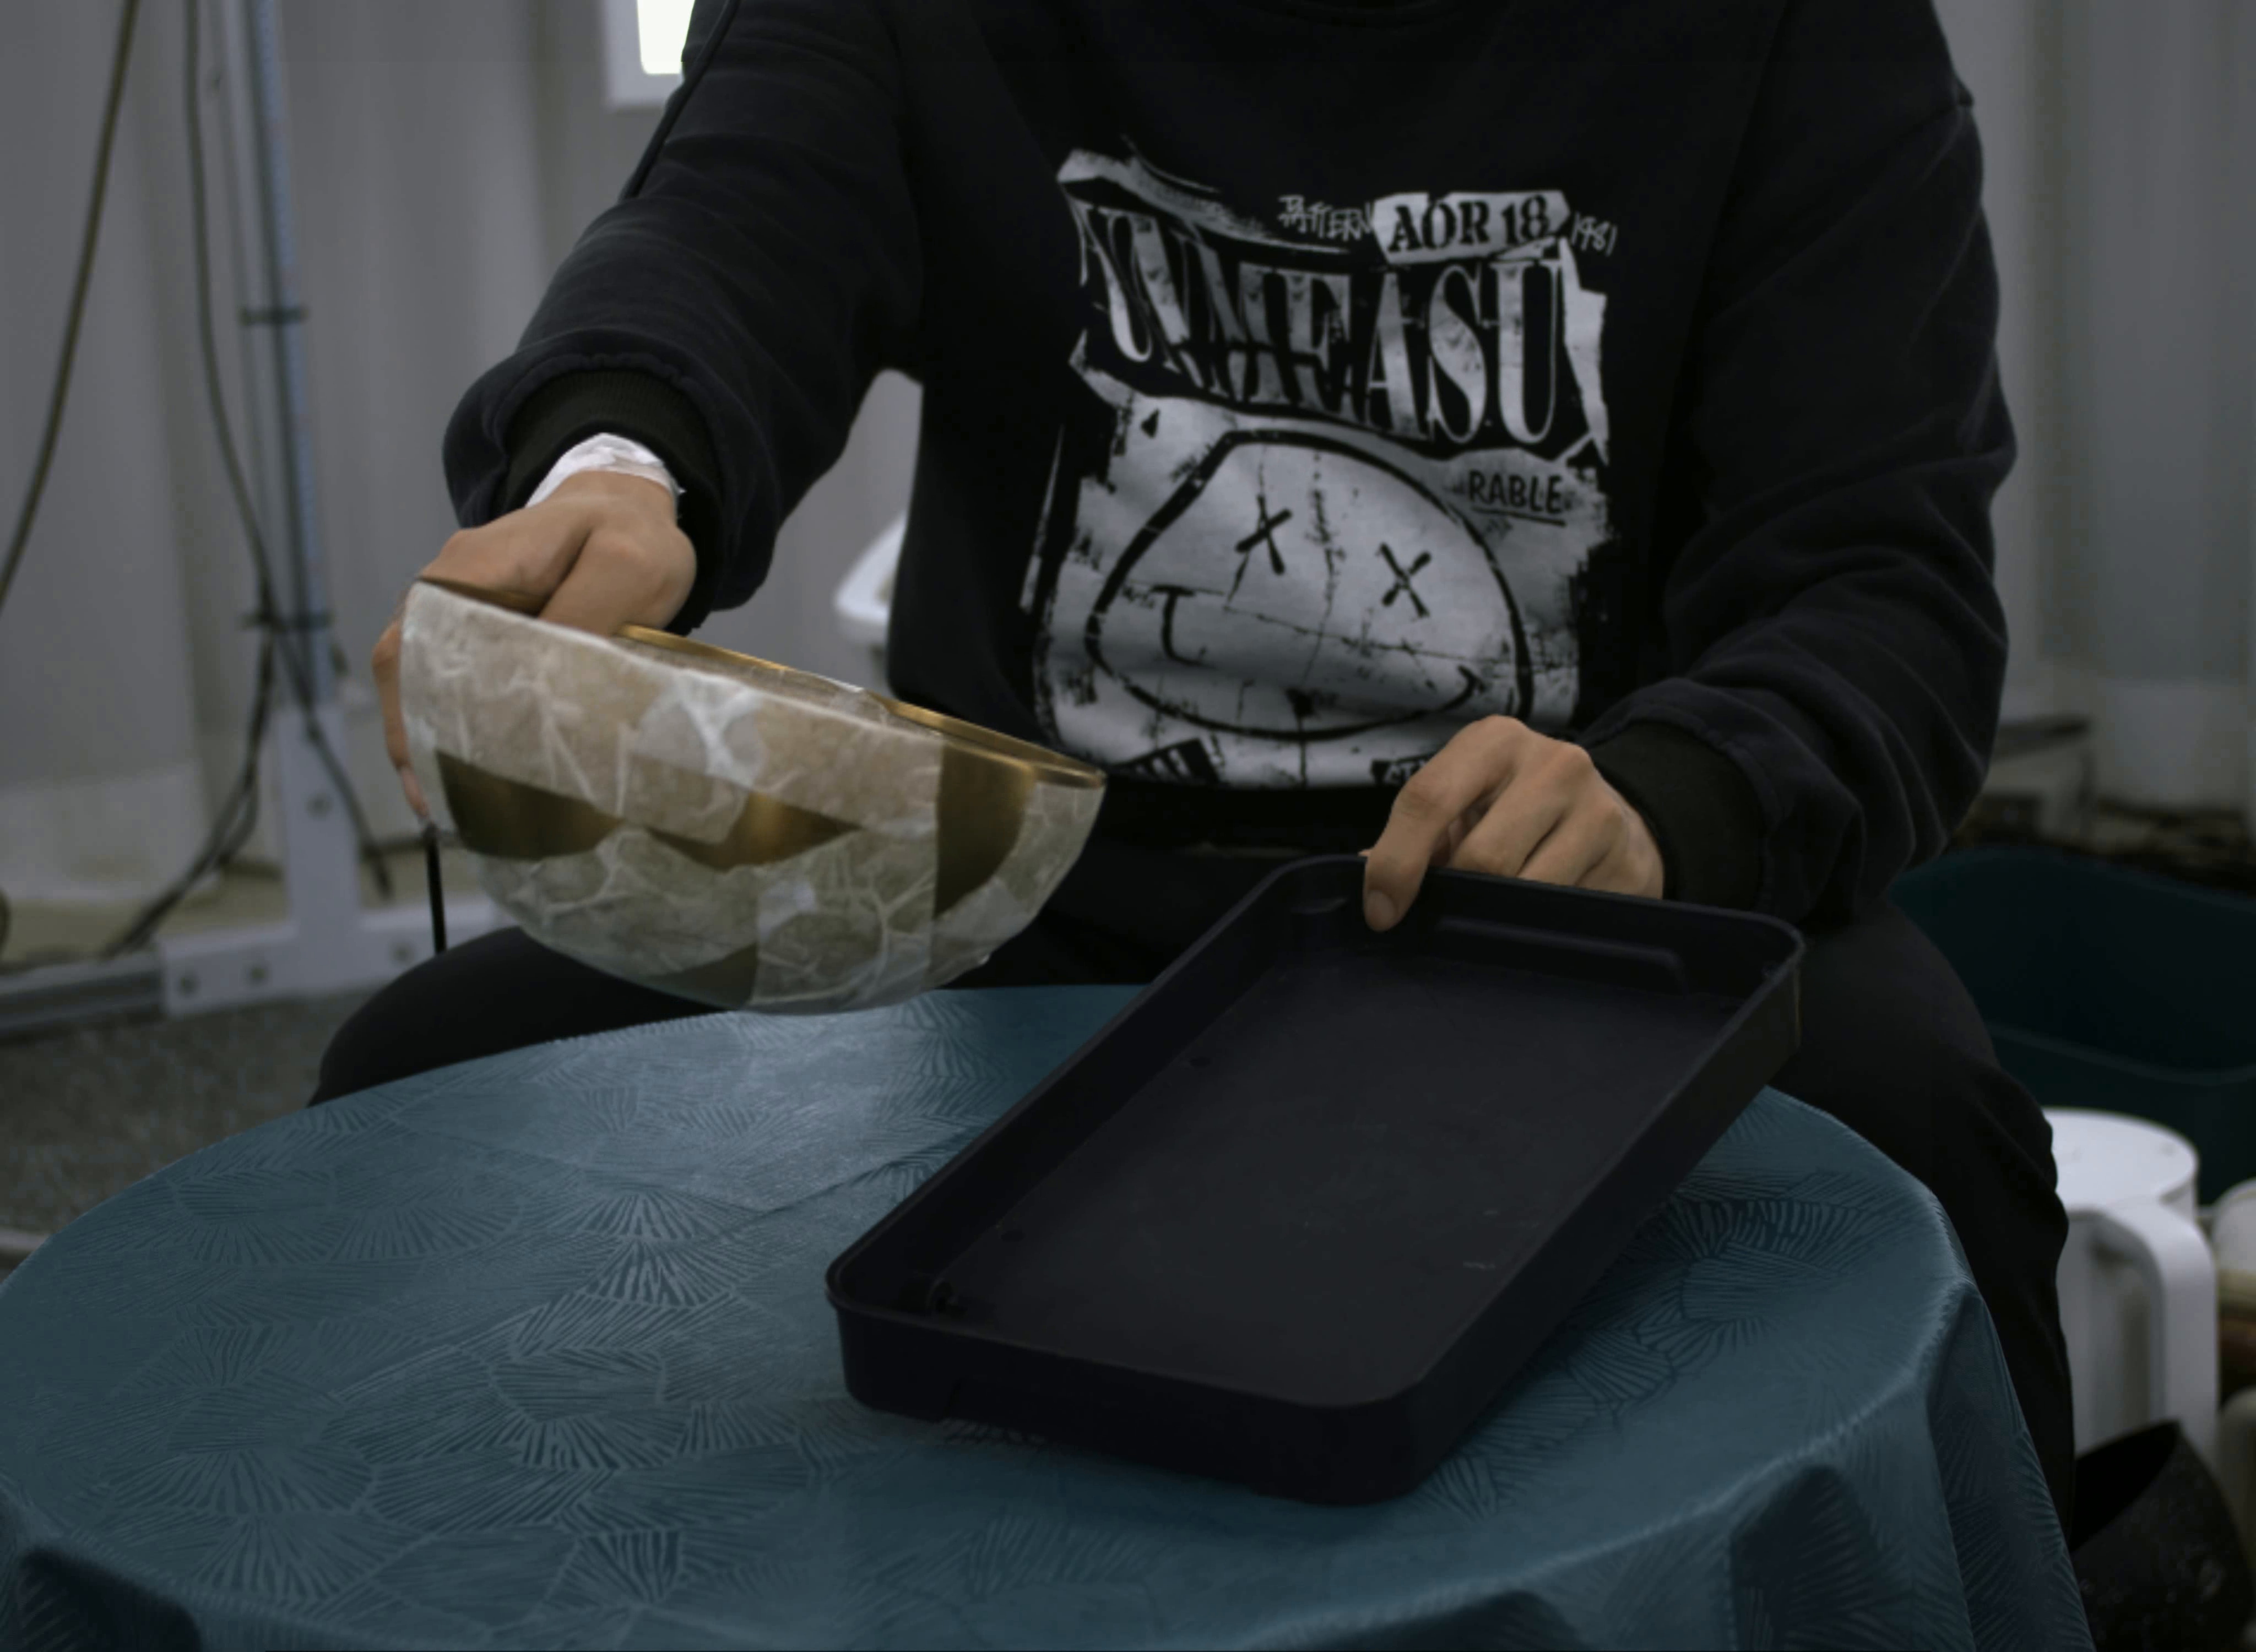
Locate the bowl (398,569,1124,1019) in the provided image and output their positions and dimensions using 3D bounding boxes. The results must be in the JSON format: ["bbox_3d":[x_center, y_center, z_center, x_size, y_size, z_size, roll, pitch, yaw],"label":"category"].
[{"bbox_3d":[-0.109,0.001,1.523,0.214,0.095,0.215,15,2,-1],"label":"bowl"}]

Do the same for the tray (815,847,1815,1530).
[{"bbox_3d":[0.062,0.097,1.603,0.185,0.037,0.319,10,29,28],"label":"tray"}]
